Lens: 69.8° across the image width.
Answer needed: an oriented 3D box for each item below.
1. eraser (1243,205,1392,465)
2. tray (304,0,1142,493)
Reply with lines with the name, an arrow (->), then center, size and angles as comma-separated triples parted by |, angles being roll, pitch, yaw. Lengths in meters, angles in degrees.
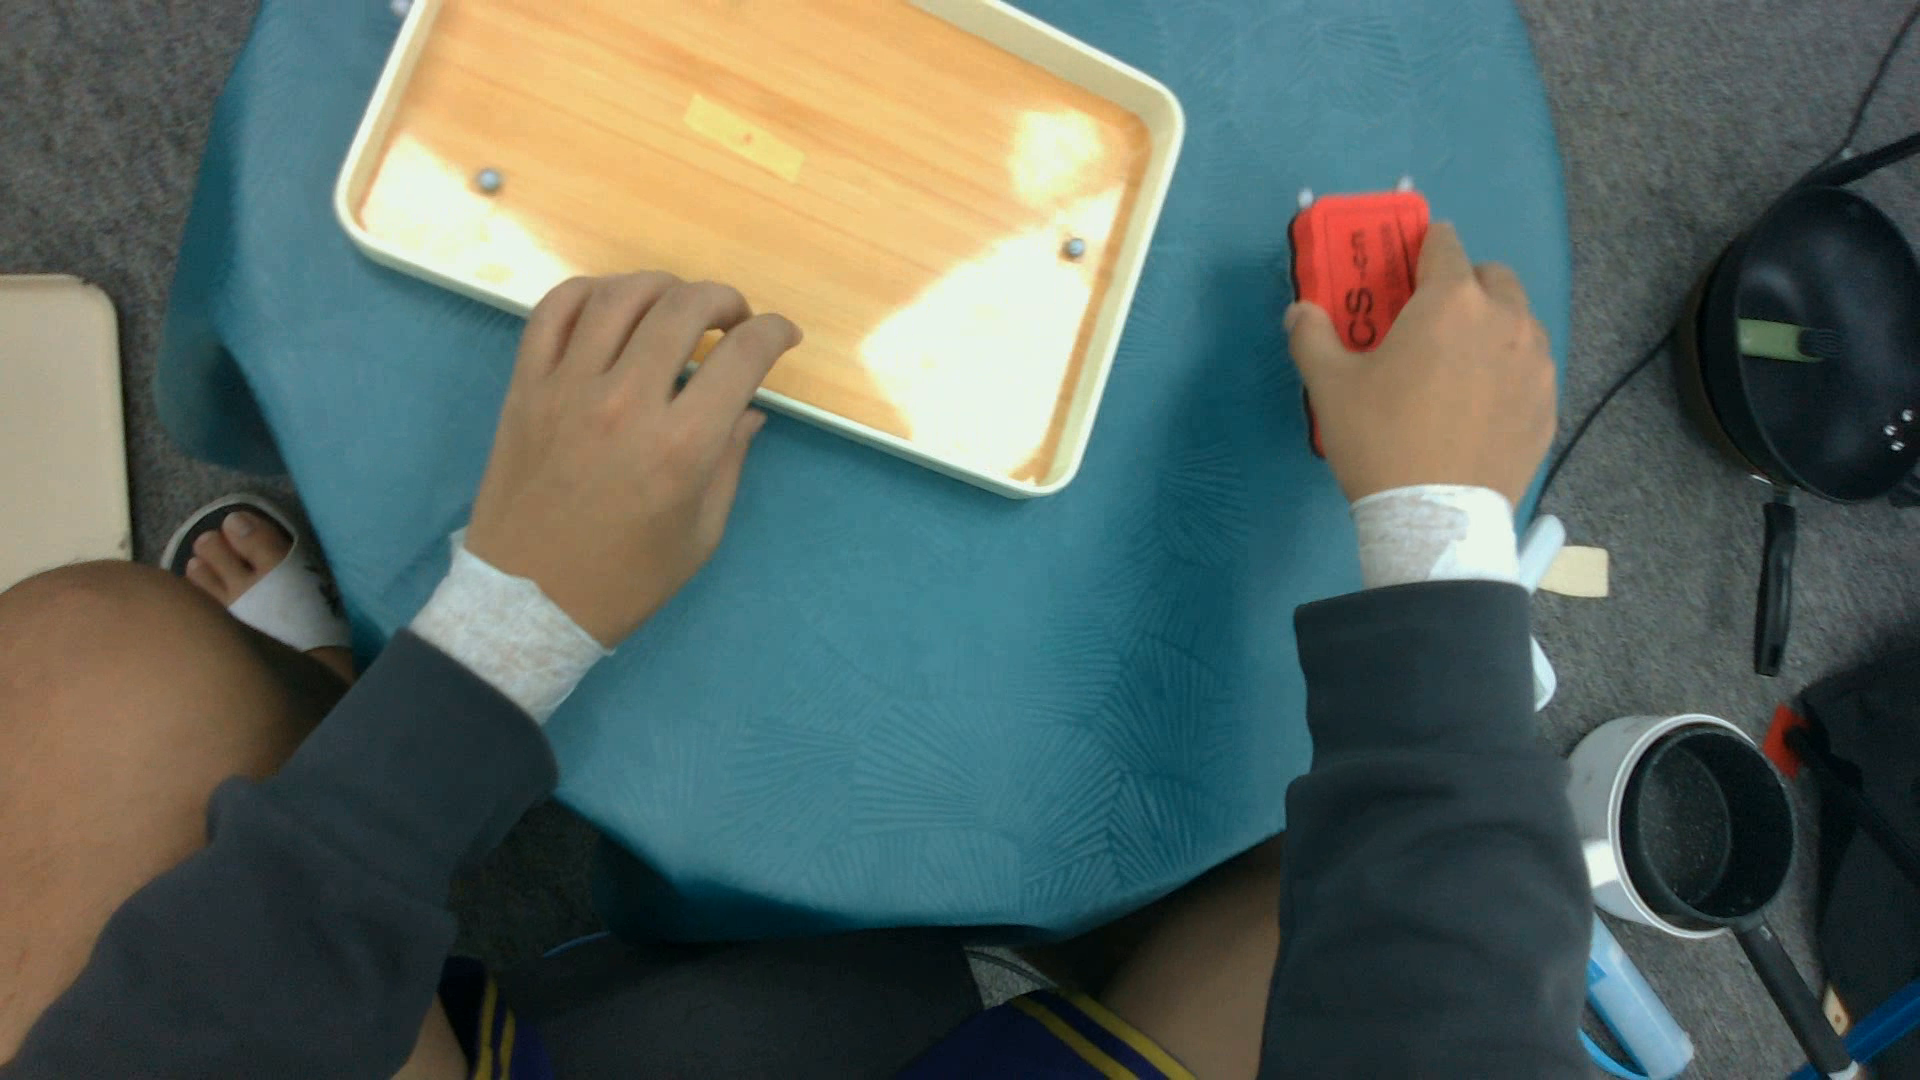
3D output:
eraser -> 0.158, -0.090, 0.607 | 0.059, 0.023, 0.108 | 8, 81, -17
tray -> -0.081, -0.151, 0.558 | 0.300, 0.027, 0.192 | 19, 79, -16
